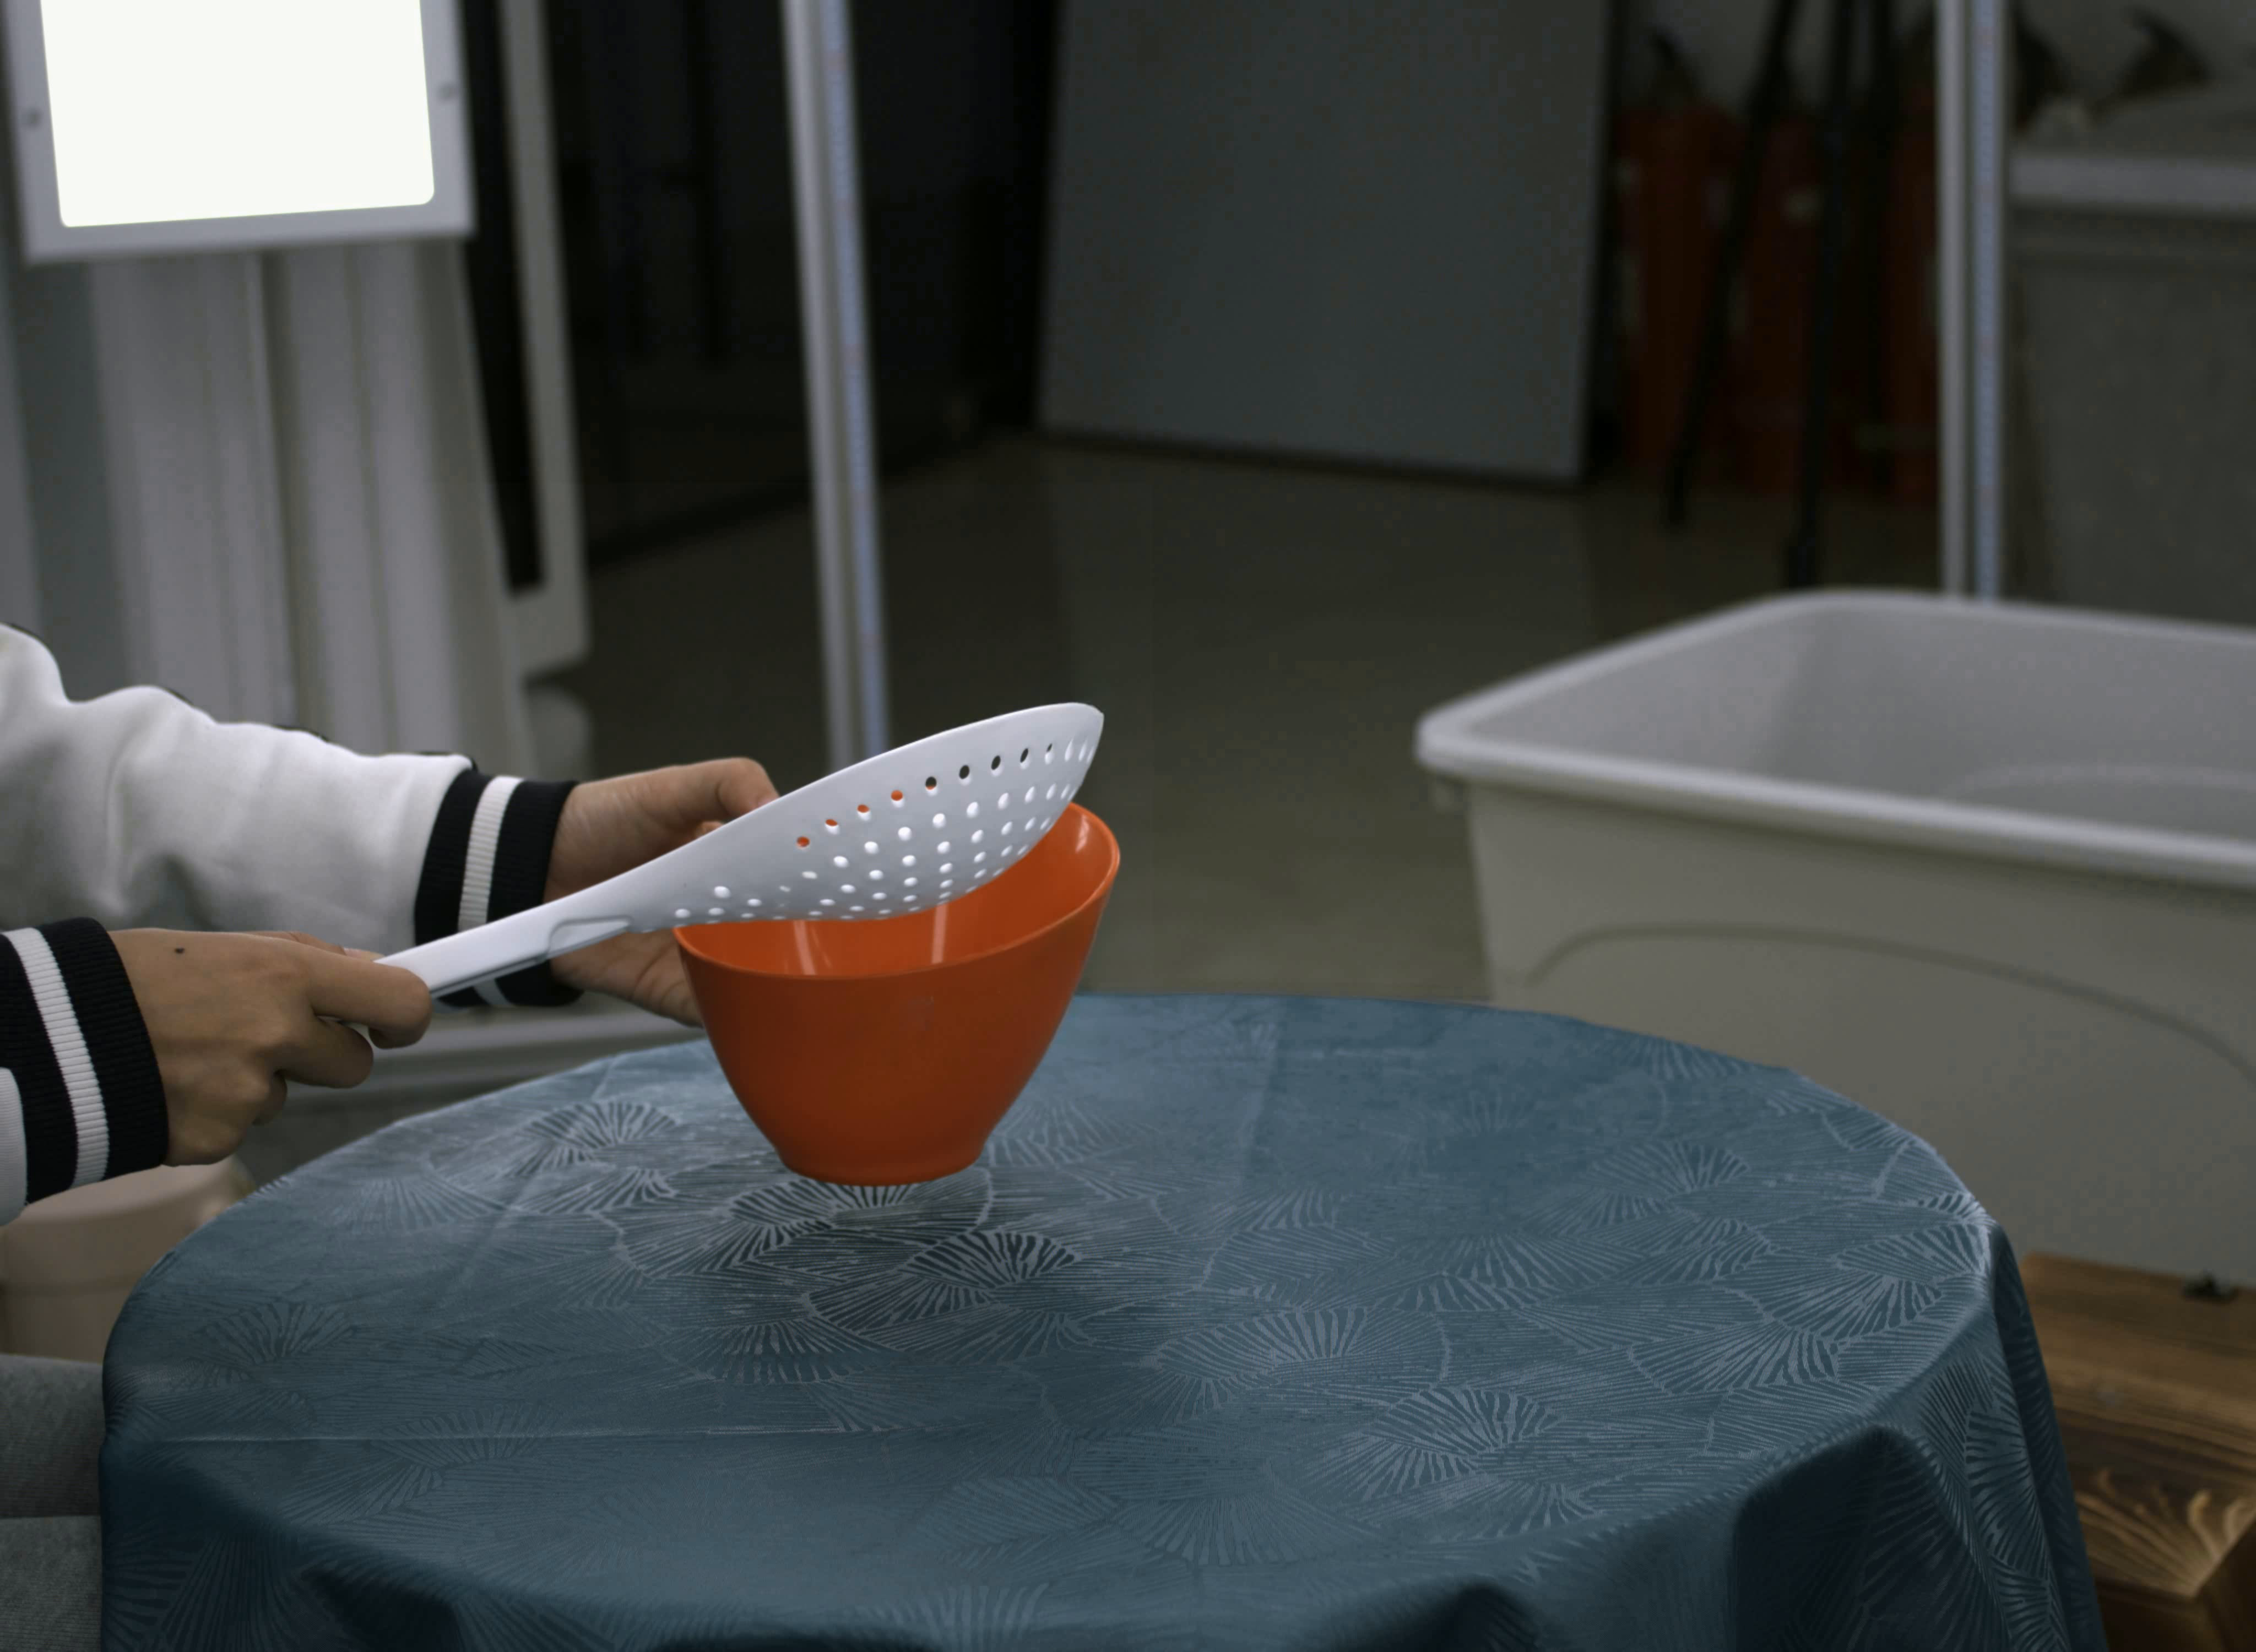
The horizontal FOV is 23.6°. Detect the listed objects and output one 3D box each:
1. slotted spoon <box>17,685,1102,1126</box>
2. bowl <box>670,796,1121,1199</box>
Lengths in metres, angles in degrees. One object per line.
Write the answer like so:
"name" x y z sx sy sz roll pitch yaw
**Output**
"slotted spoon" -0.168 0.026 1.643 0.344 0.046 0.136 -15 -9 -8
"bowl" -0.074 0.058 1.754 0.146 0.106 0.148 -1 16 -1
